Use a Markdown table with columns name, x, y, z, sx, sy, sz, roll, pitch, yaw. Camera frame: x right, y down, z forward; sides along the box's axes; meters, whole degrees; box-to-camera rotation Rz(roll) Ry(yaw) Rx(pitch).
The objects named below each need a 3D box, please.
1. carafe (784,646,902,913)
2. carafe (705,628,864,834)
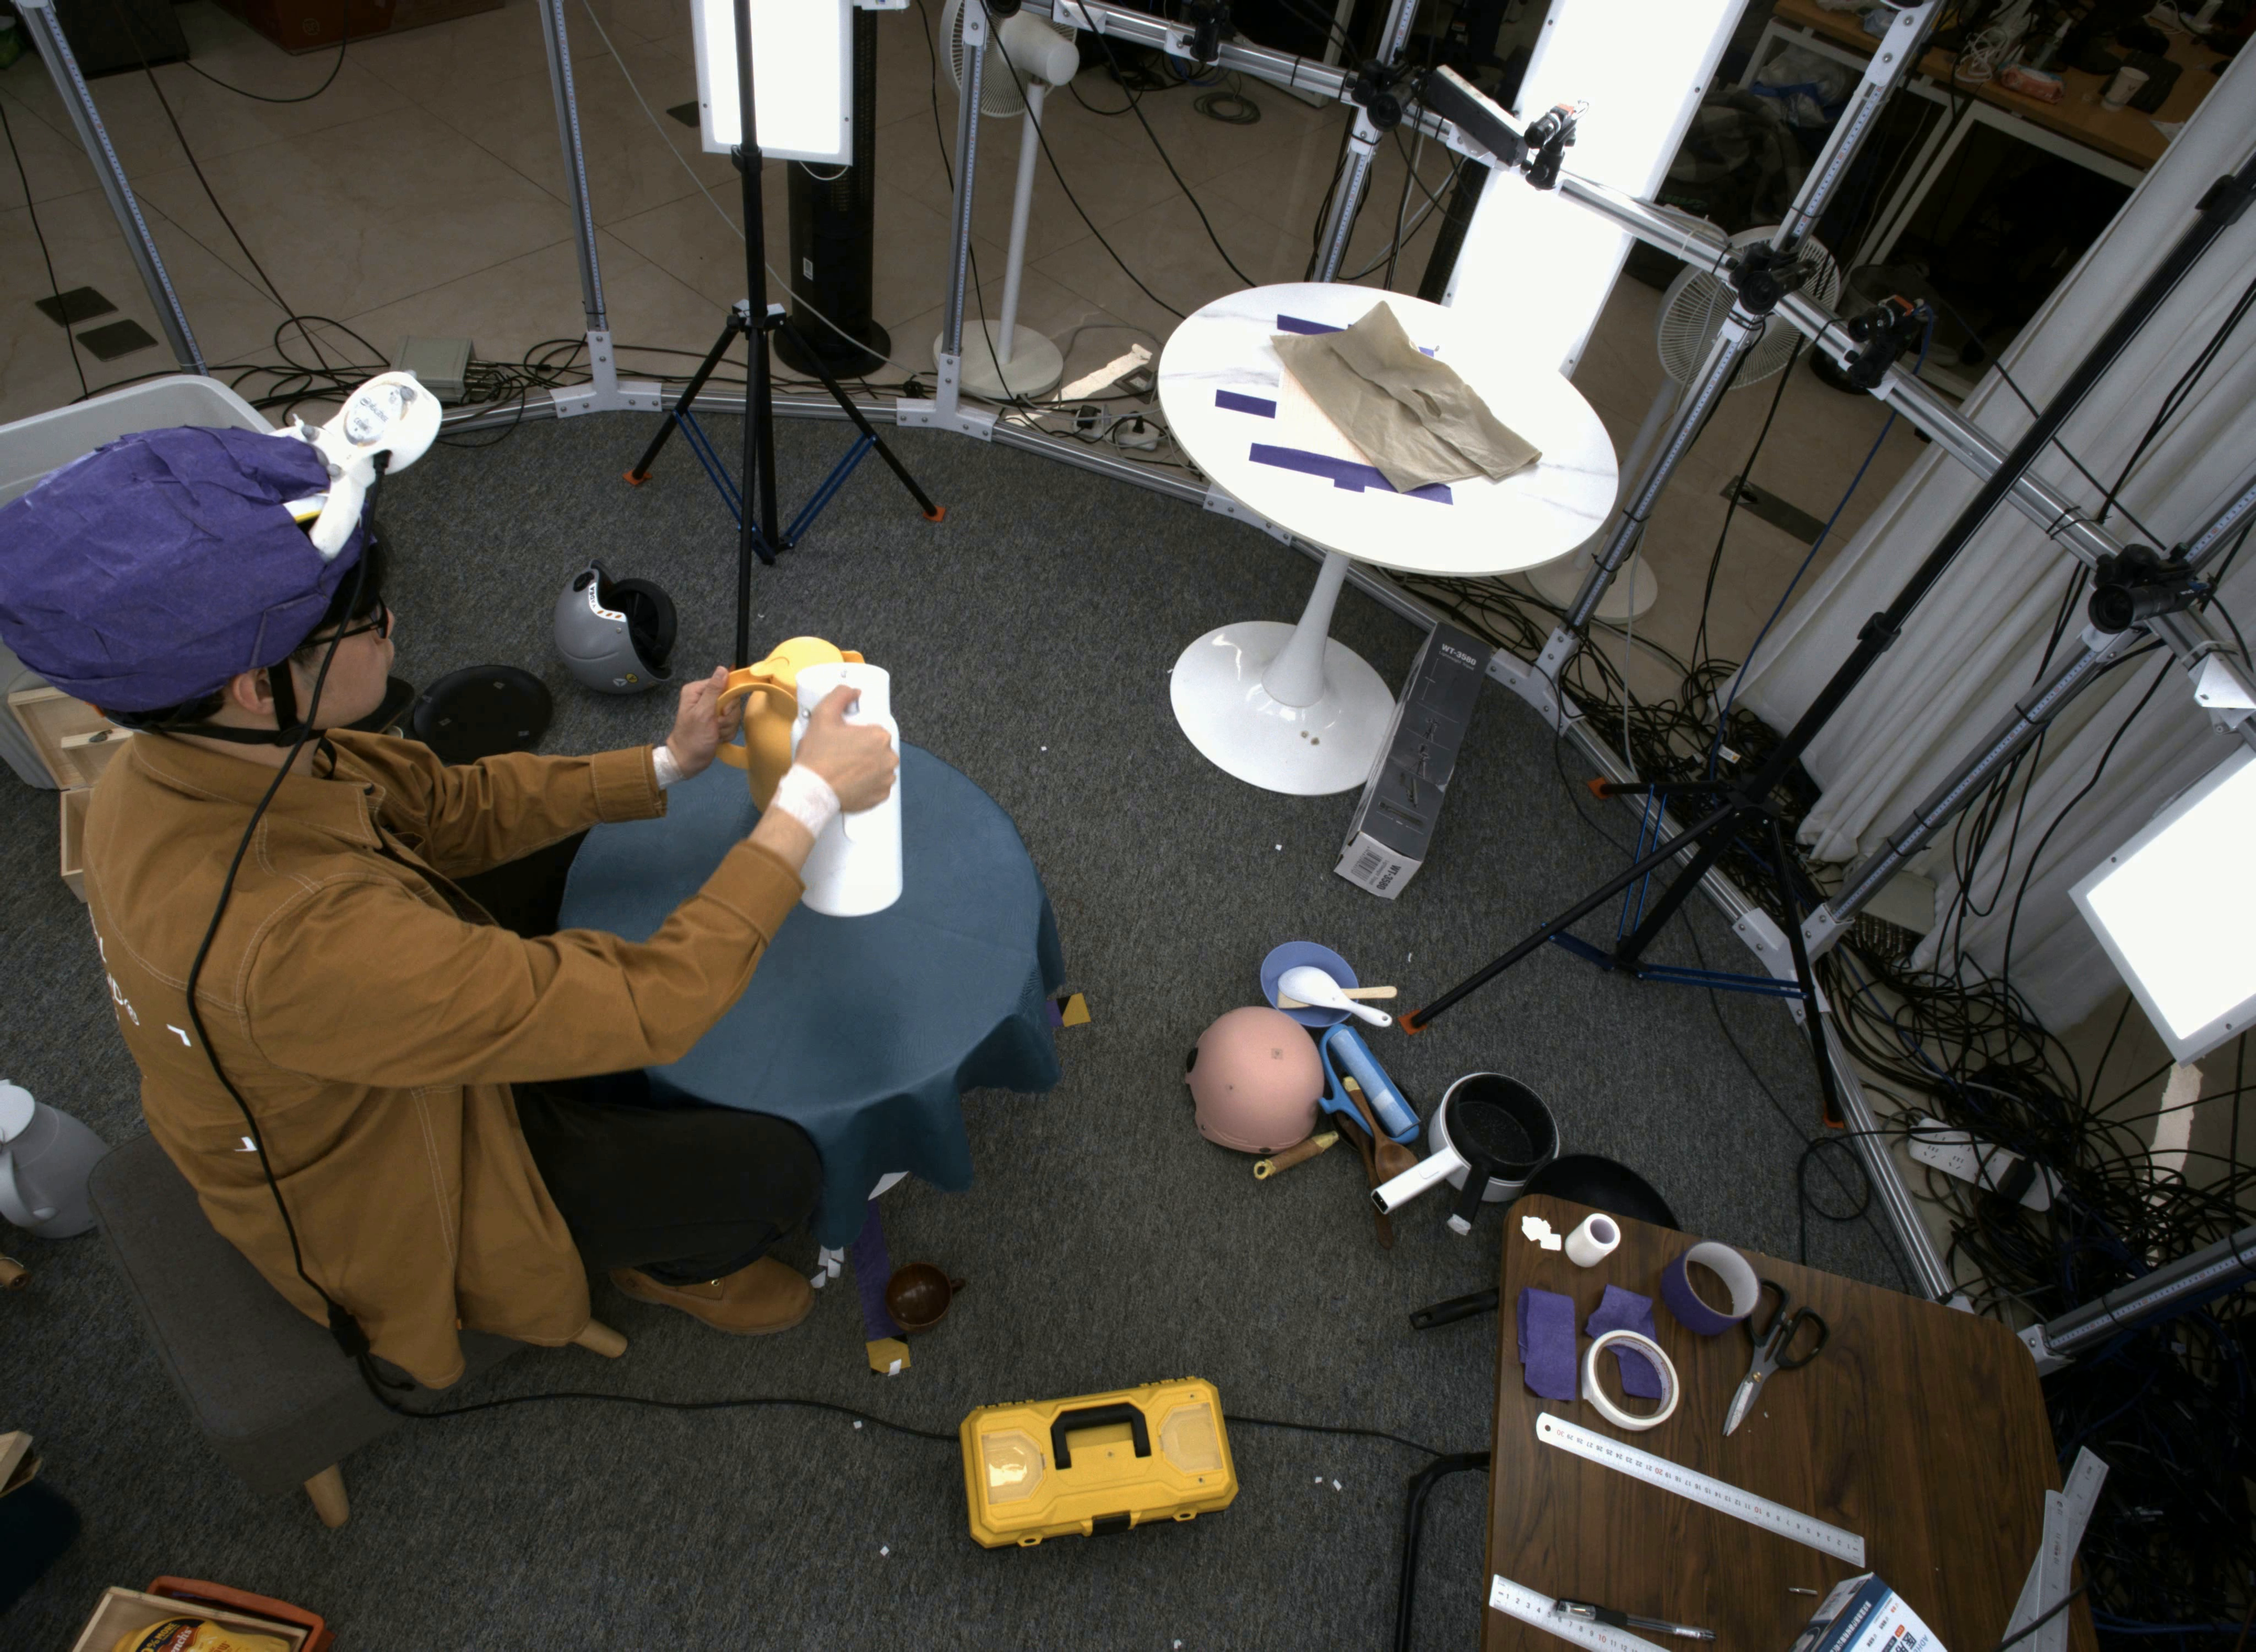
| name | x | y | z | sx | sy | sz | roll | pitch | yaw |
| --- | --- | --- | --- | --- | --- | --- | --- | --- | --- |
| carafe | -0.305 | -0.043 | 1.405 | 0.124 | 0.276 | 0.167 | -5 | 25 | -20 |
| carafe | -0.421 | -0.122 | 1.615 | 0.203 | 0.266 | 0.159 | -8 | 51 | -20 |
